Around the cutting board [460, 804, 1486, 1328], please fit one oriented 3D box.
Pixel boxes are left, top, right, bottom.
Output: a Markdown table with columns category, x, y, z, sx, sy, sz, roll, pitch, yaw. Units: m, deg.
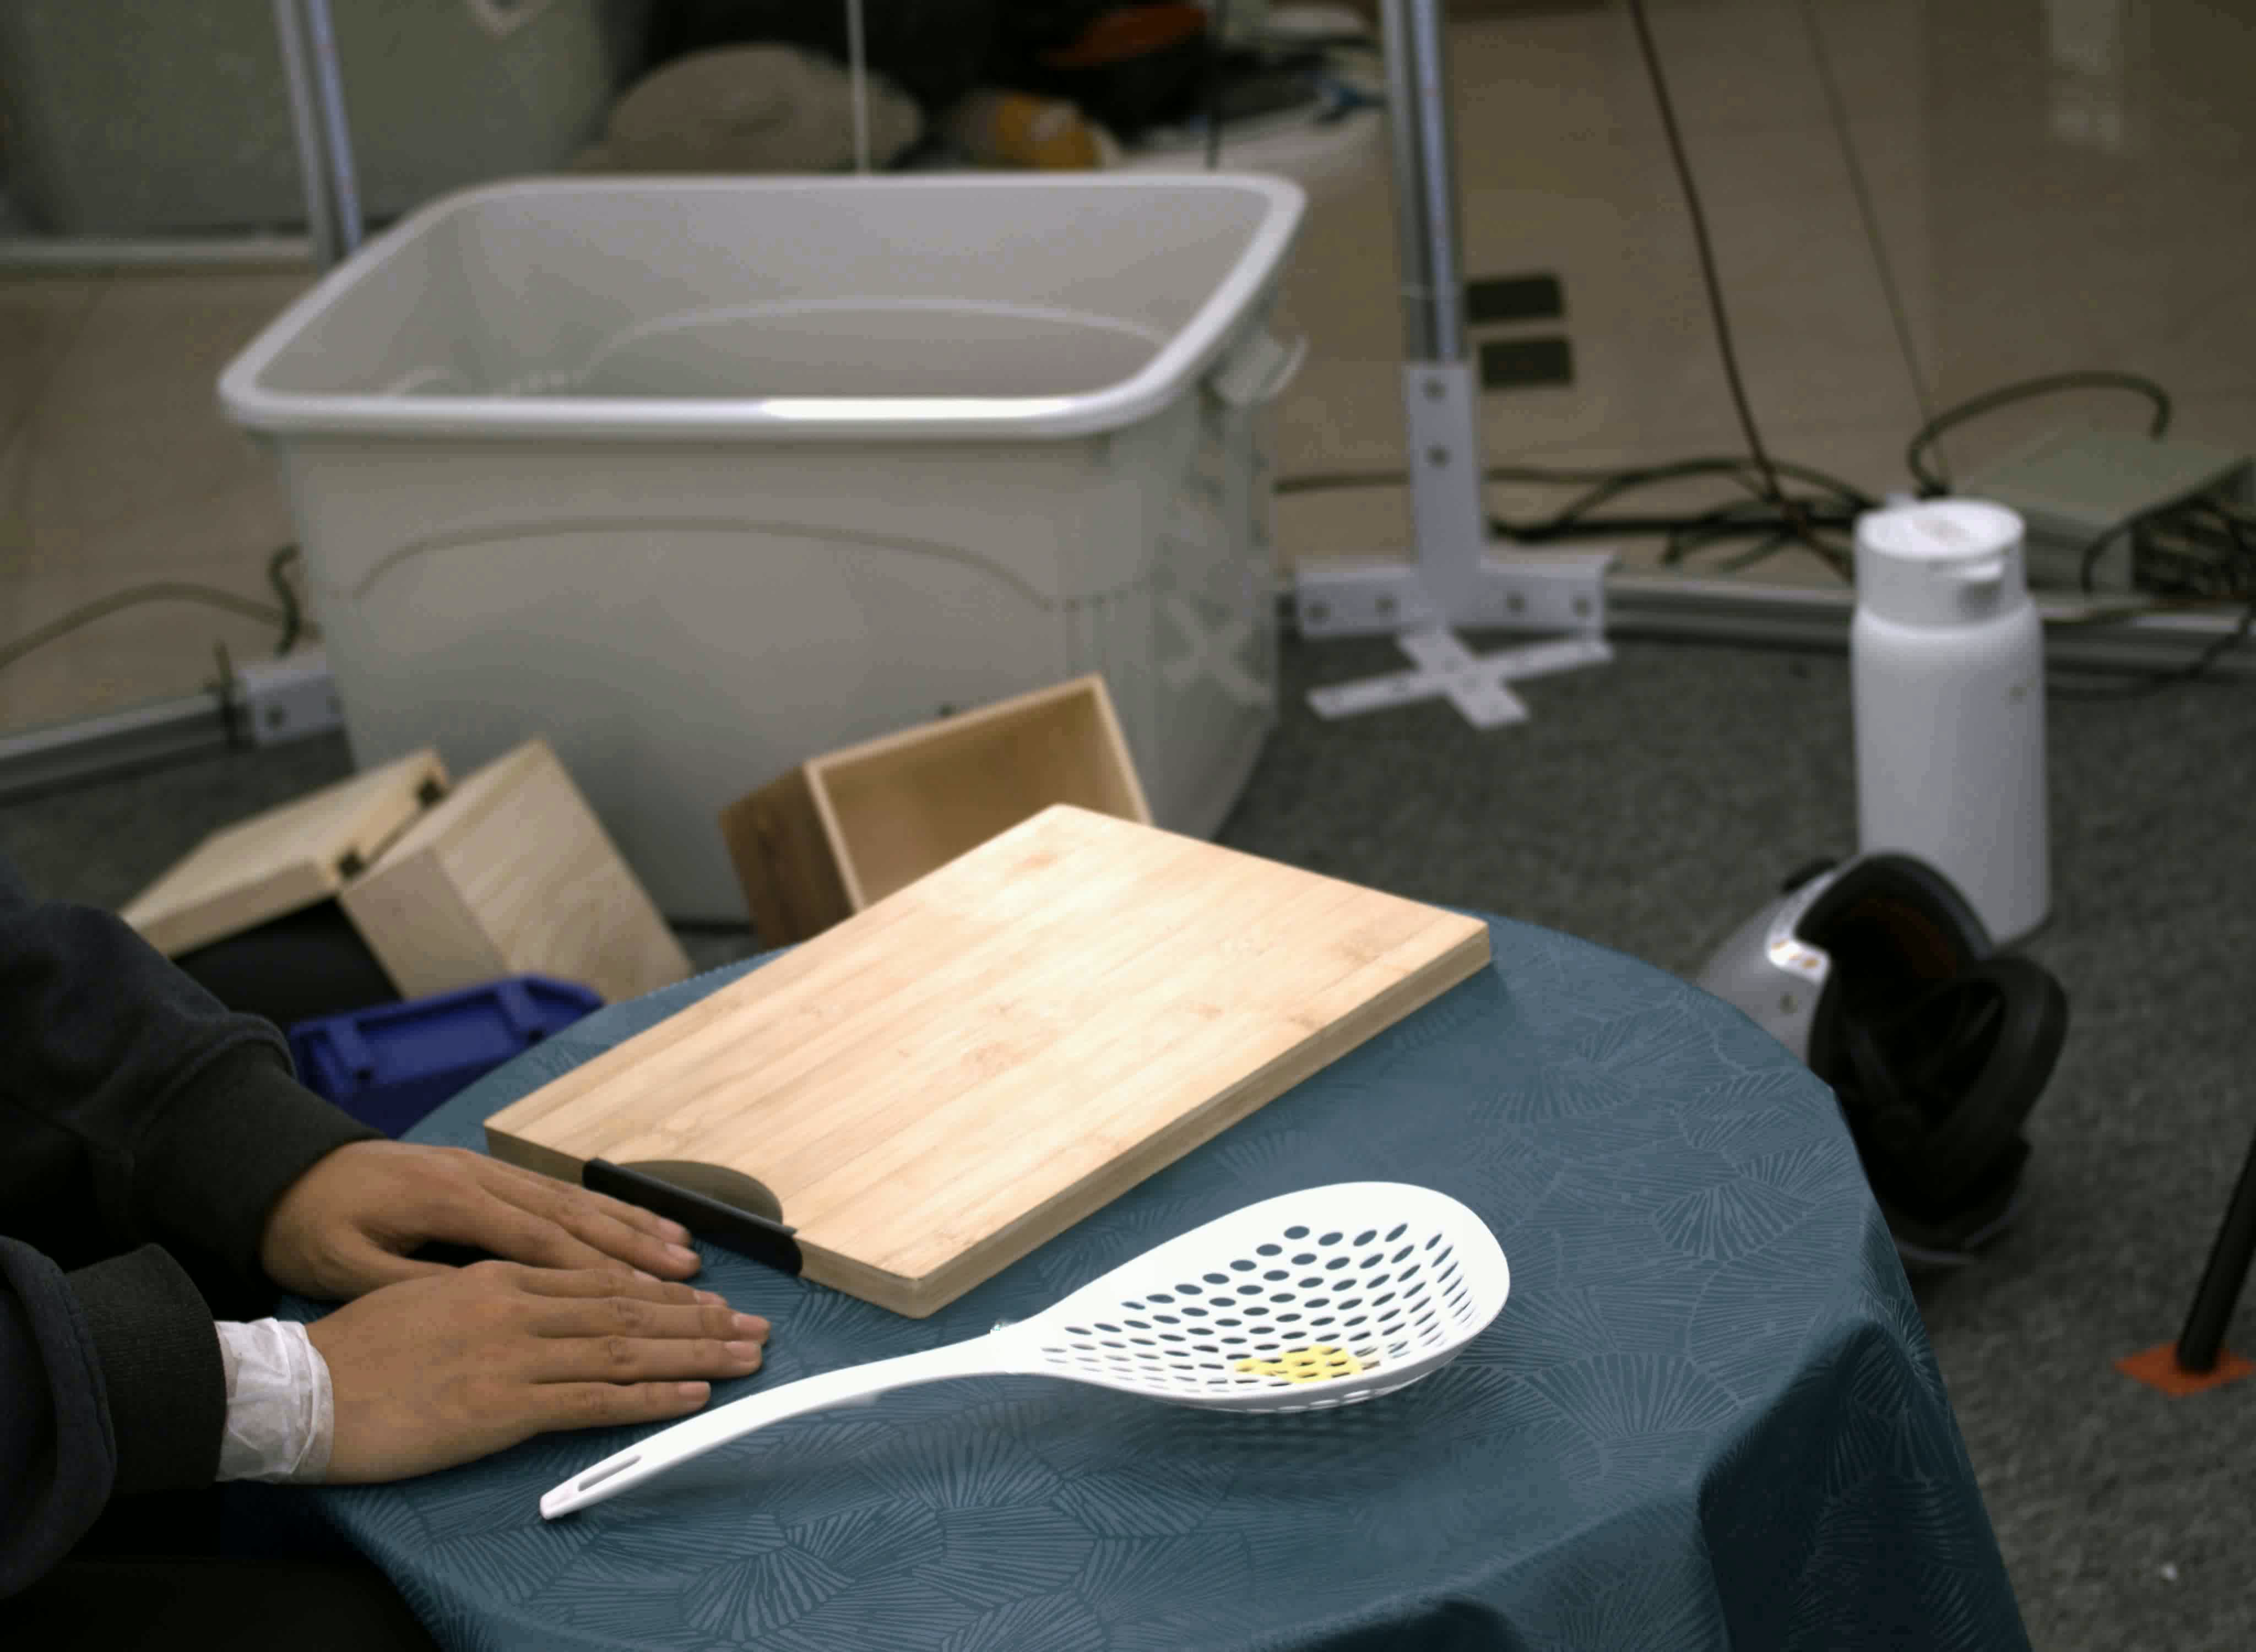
| category | x | y | z | sx | sy | sz | roll | pitch | yaw |
| --- | --- | --- | --- | --- | --- | --- | --- | --- | --- |
| cutting board | -0.056 | 0.088 | 2.251 | 0.249 | 0.024 | 0.345 | 15 | 32 | 39 |

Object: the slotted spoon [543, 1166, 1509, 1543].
| category | x | y | z | sx | sy | sz | roll | pitch | yaw |
| --- | --- | --- | --- | --- | --- | --- | --- | --- | --- |
| slotted spoon | -0.037 | 0.193 | 1.989 | 0.347 | 0.051 | 0.135 | -10 | 27 | -7 |
